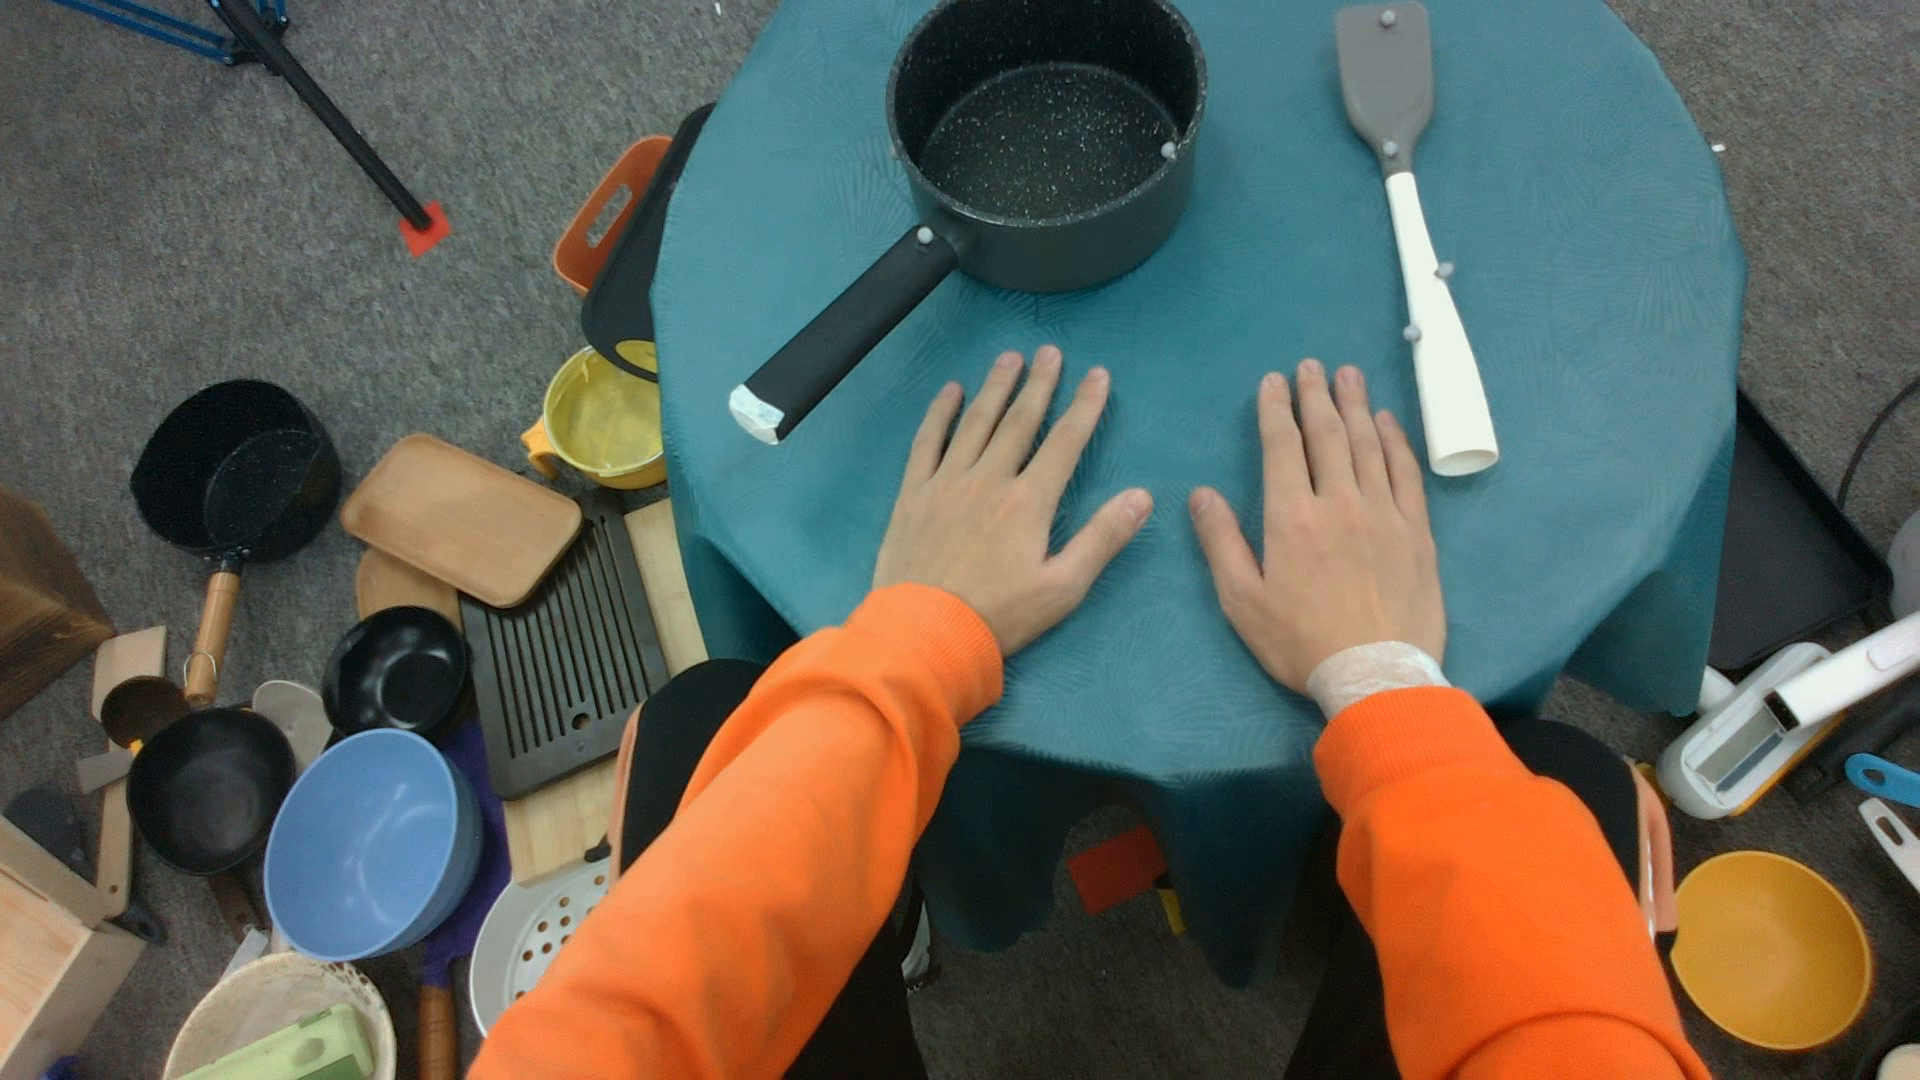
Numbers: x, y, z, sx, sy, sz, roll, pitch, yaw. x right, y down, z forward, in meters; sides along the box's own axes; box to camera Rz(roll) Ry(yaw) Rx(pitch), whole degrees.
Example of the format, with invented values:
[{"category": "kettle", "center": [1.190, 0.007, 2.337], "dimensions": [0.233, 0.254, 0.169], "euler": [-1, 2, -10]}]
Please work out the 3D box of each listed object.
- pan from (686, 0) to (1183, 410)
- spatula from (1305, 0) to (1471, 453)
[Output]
[{"category": "pan", "center": [-0.015, -0.177, 0.745], "dimensions": [0.172, 0.086, 0.329], "euler": [36, 74, 19]}, {"category": "spatula", "center": [0.234, -0.183, 0.750], "dimensions": [0.058, 0.032, 0.288], "euler": [-6, 68, 7]}]
